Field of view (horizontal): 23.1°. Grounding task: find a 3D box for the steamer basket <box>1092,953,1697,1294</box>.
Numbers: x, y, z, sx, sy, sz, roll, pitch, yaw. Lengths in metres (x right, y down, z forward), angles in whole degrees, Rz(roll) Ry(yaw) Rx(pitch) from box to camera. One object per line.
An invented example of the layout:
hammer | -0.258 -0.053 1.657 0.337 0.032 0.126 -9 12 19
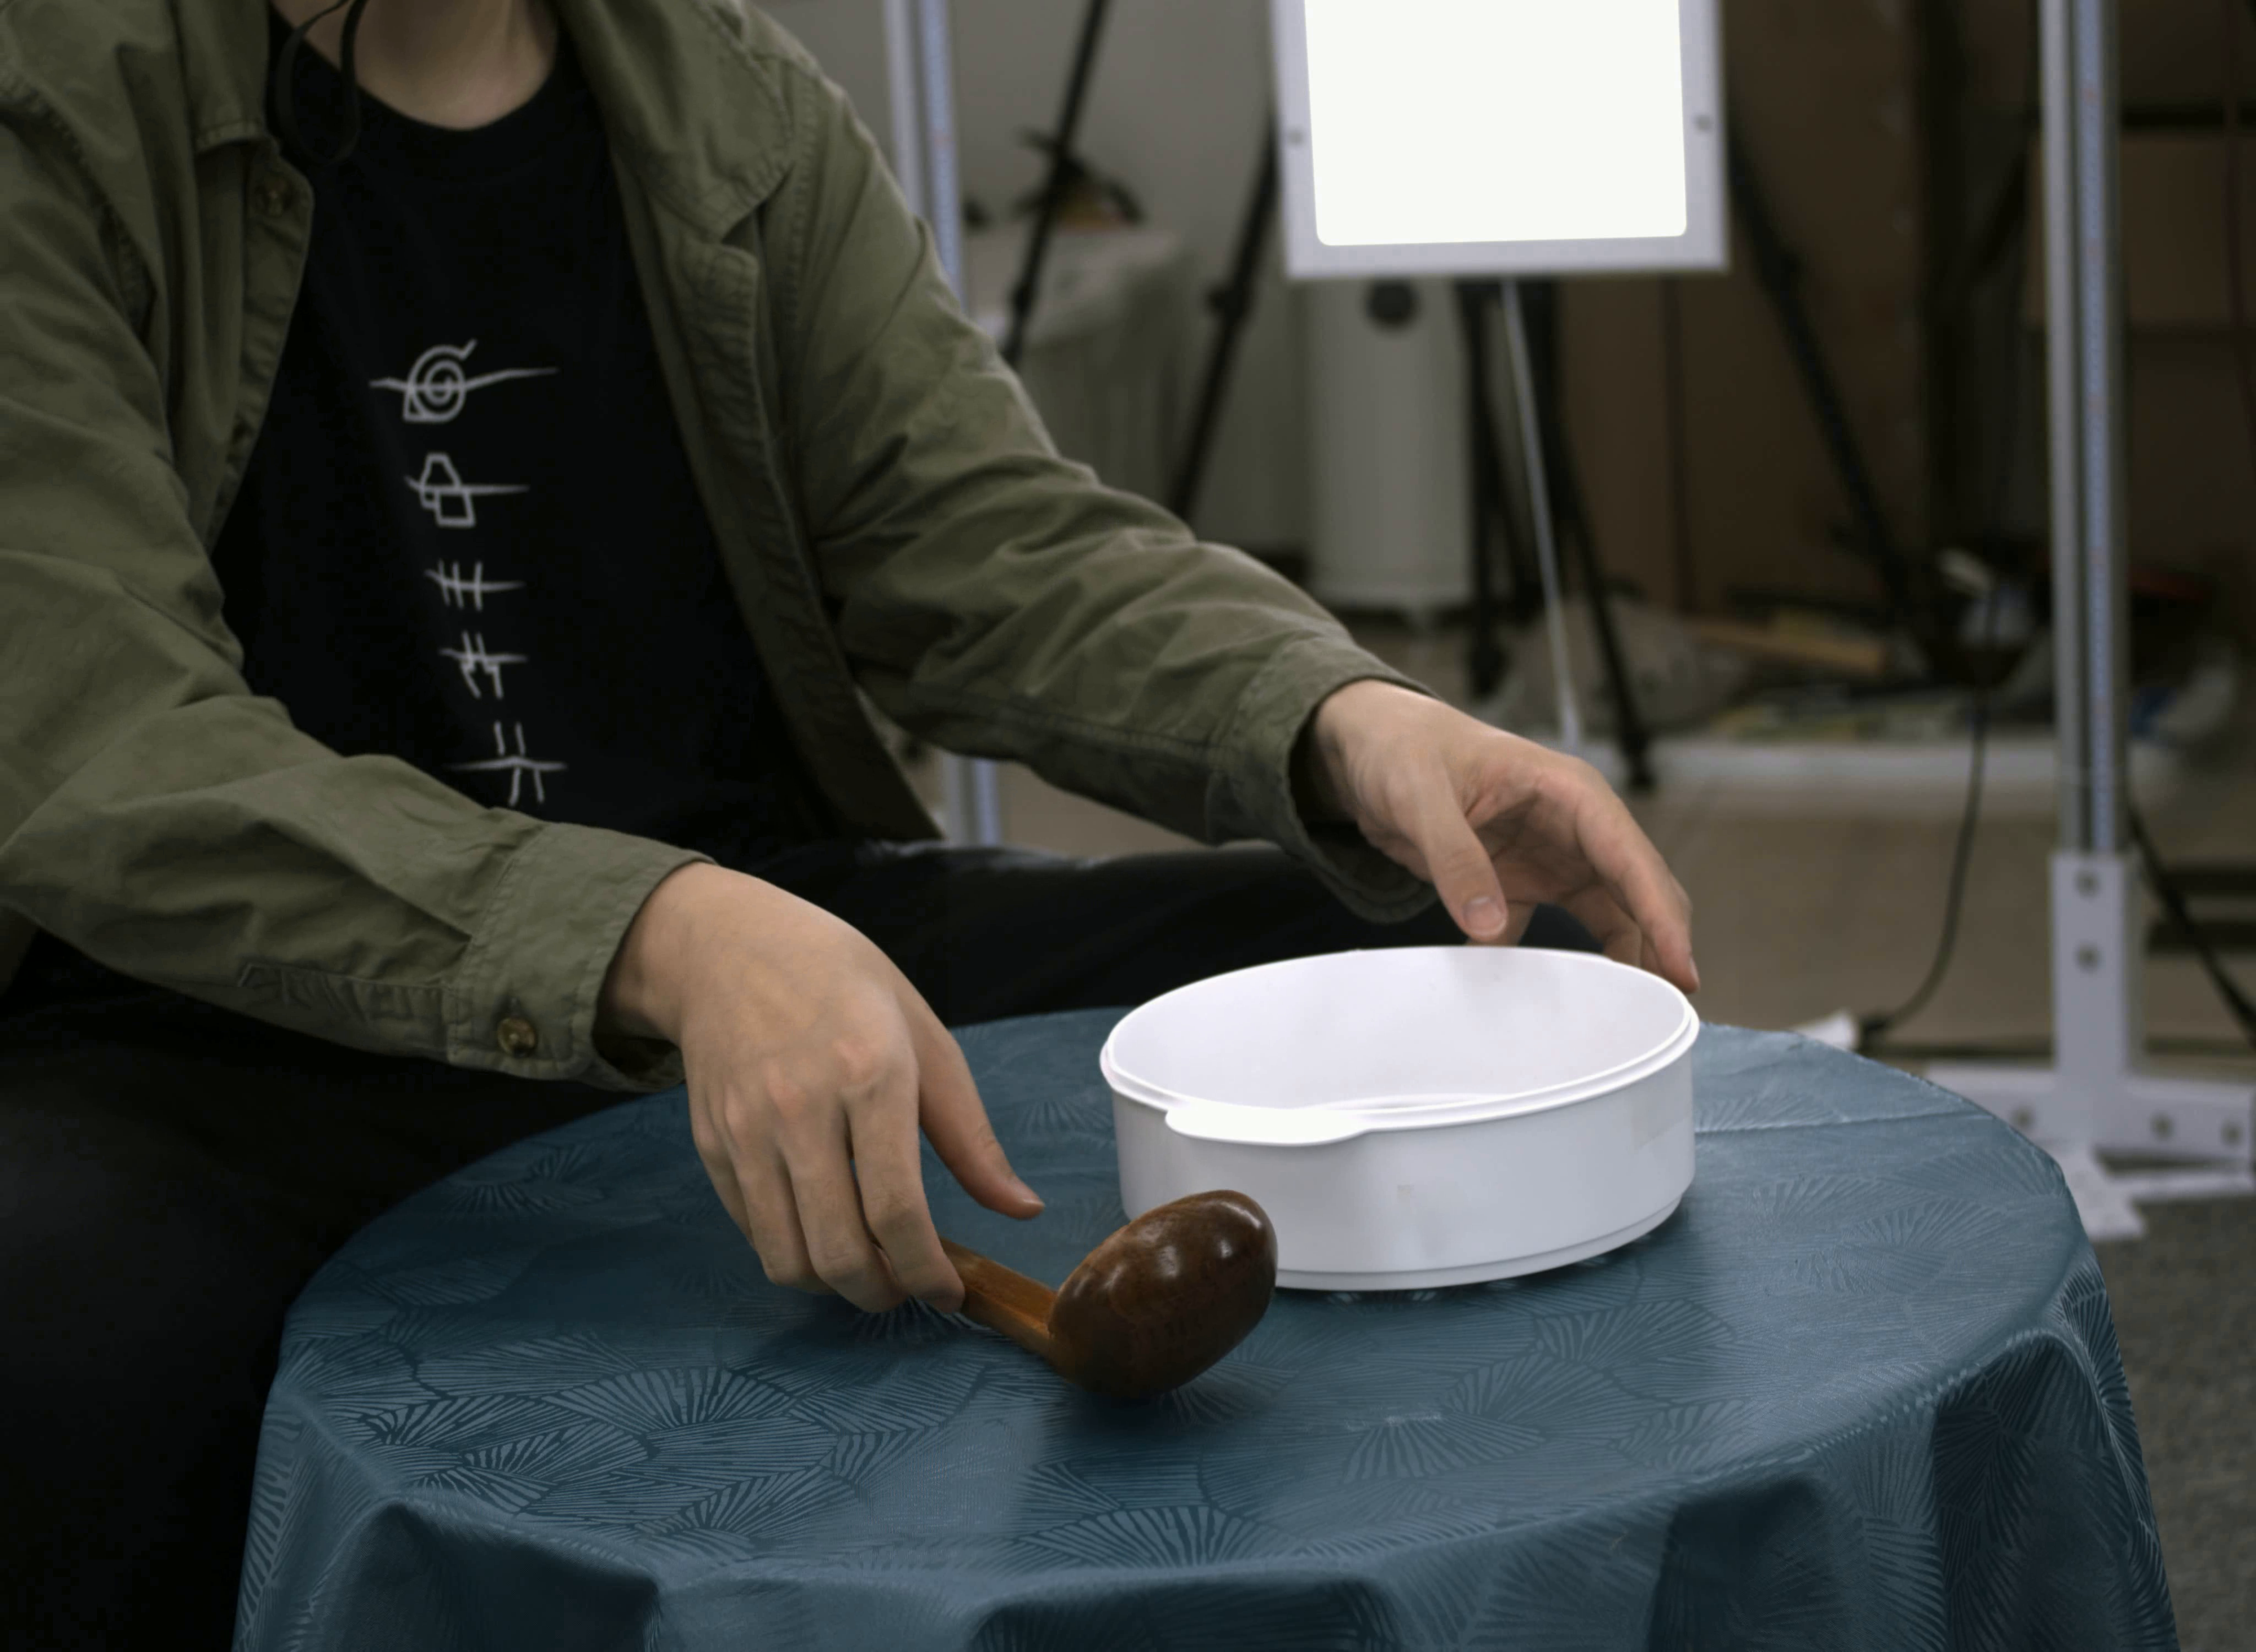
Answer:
steamer basket | 0.090 0.099 1.831 0.206 0.069 0.225 4 15 31

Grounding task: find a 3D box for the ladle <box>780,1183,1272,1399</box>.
ladle | -0.047 0.126 1.753 0.080 0.077 0.279 -15 16 -28
